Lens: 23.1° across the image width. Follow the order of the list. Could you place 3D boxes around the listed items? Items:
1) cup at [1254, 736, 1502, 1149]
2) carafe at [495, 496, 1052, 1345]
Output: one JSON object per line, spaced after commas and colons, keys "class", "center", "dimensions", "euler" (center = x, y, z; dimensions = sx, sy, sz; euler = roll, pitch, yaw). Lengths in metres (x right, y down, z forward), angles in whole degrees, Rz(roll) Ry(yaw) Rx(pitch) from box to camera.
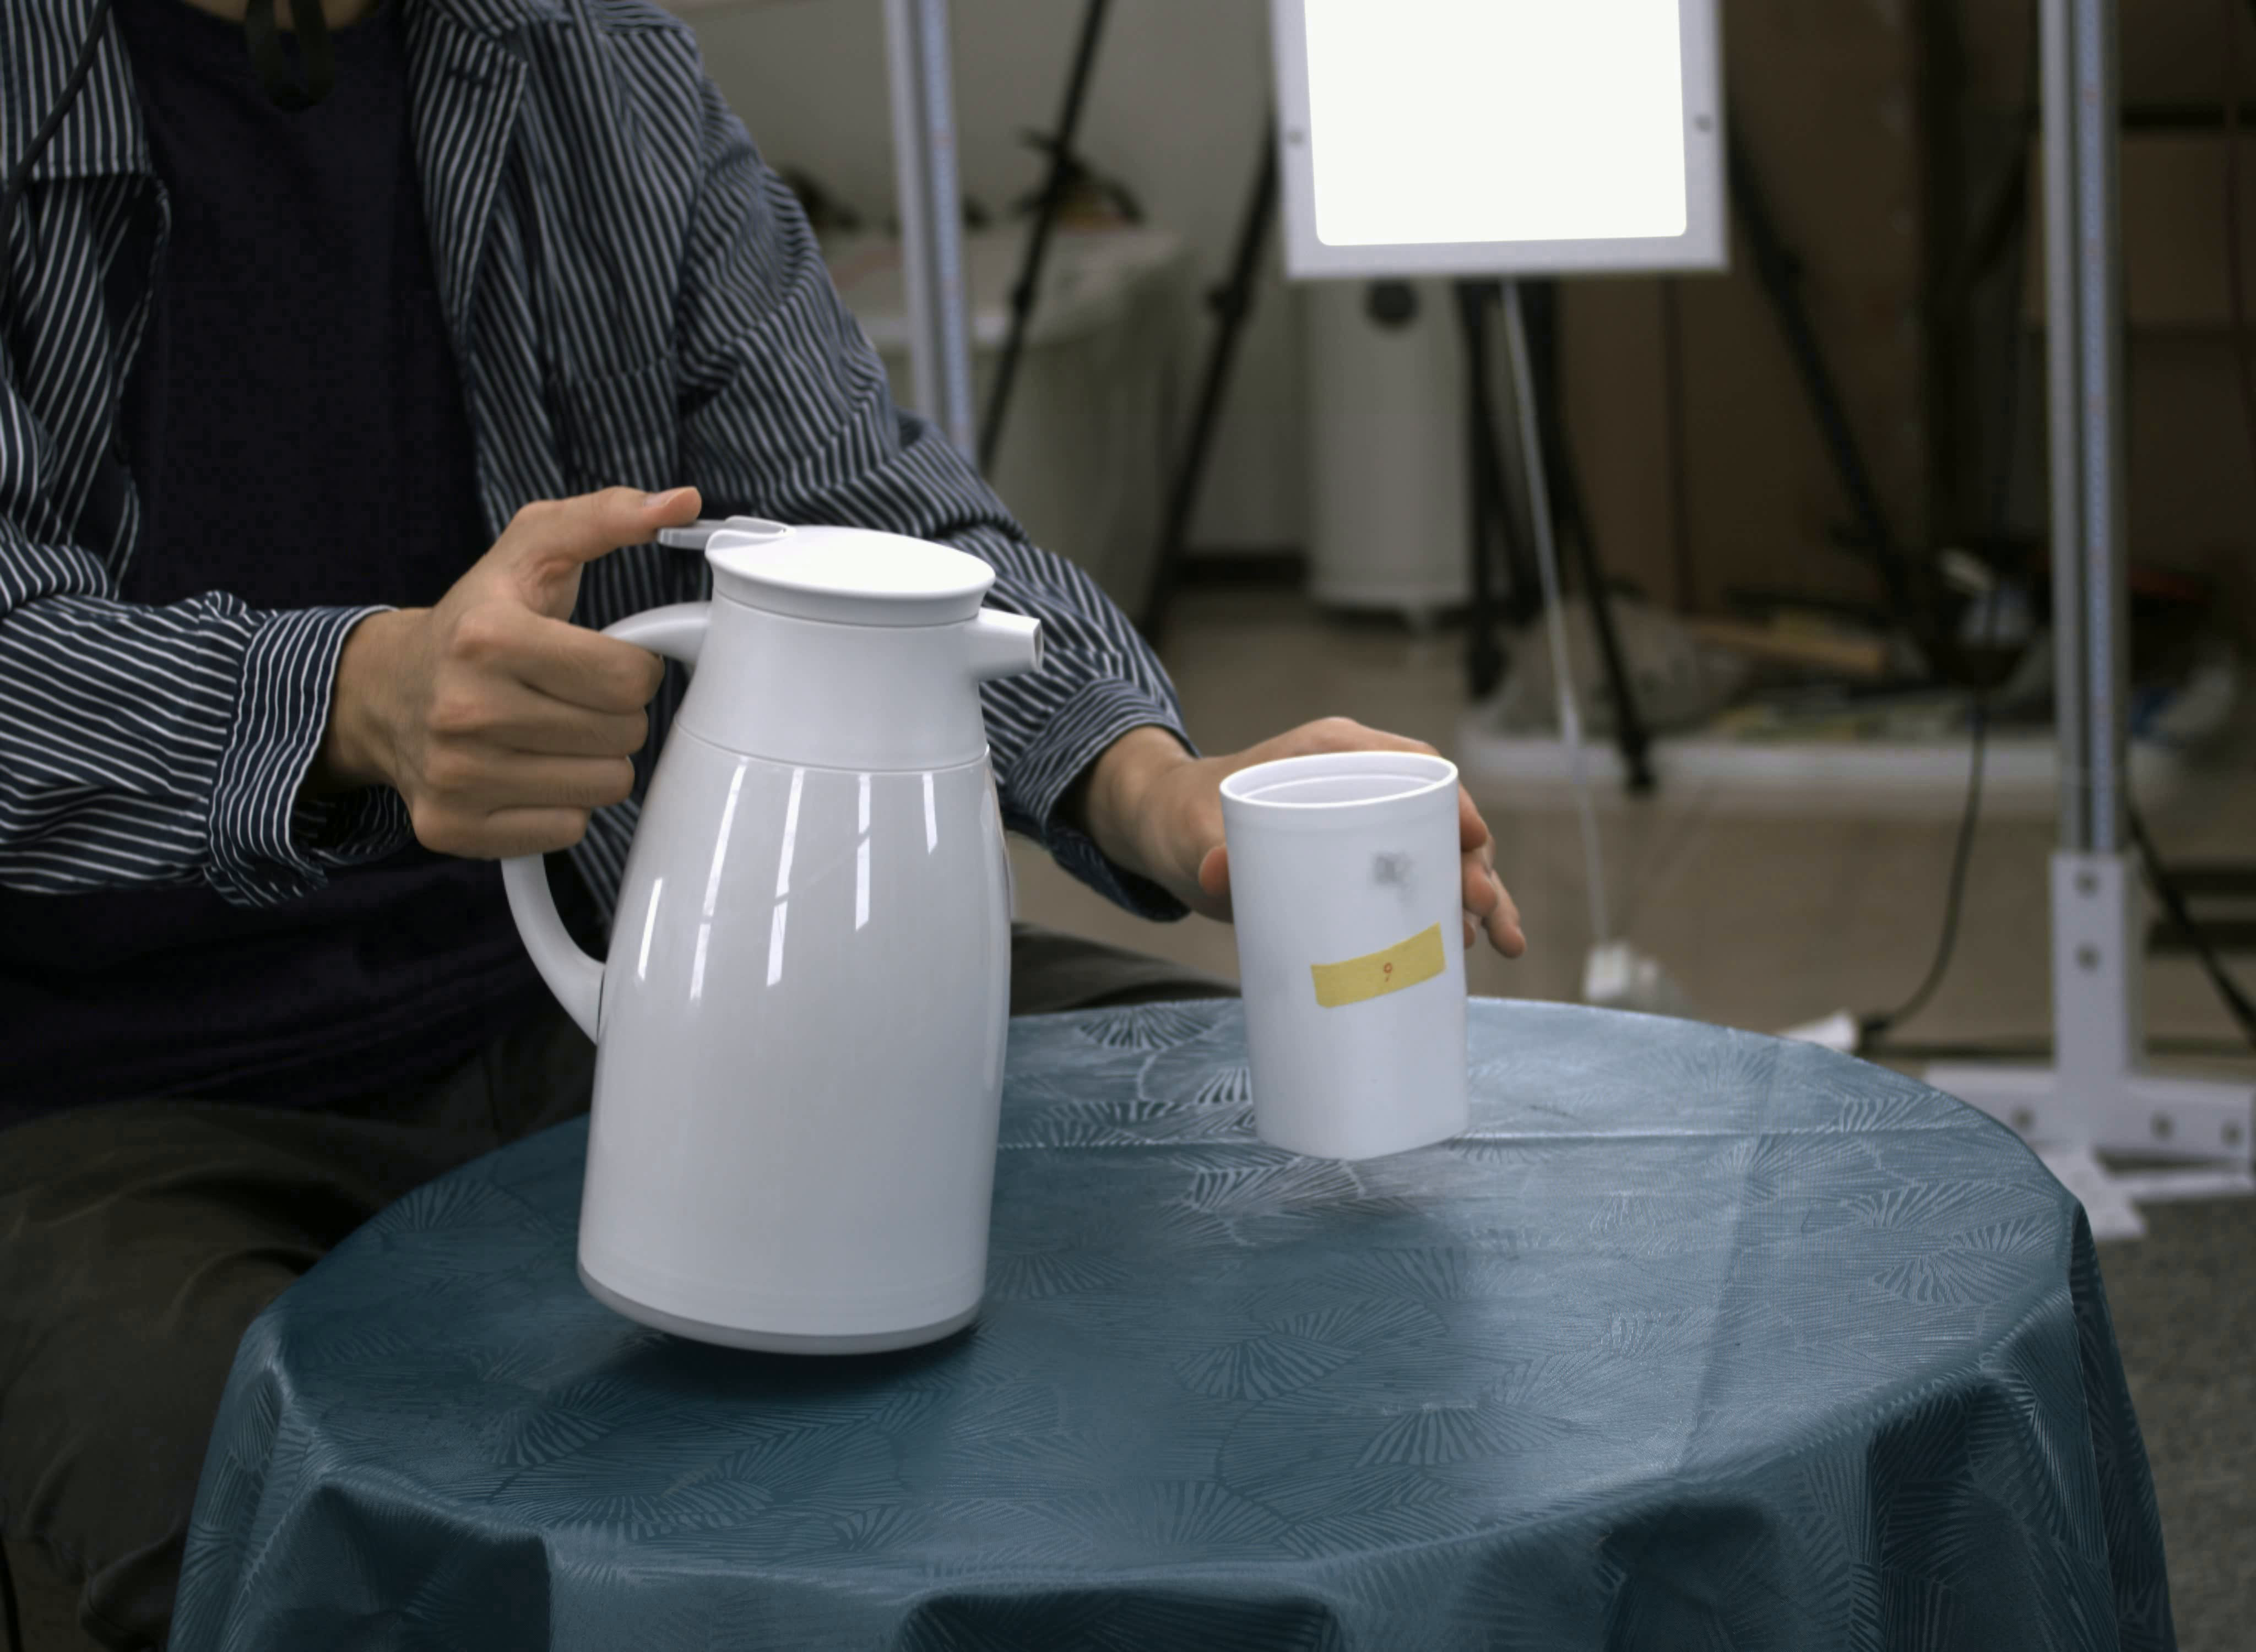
{"class": "cup", "center": [0.087, 0.039, 1.856], "dimensions": [0.081, 0.126, 0.081], "euler": [-5, 13, 0]}
{"class": "carafe", "center": [-0.119, 0.022, 1.738], "dimensions": [0.167, 0.250, 0.132], "euler": [8, 16, 0]}
